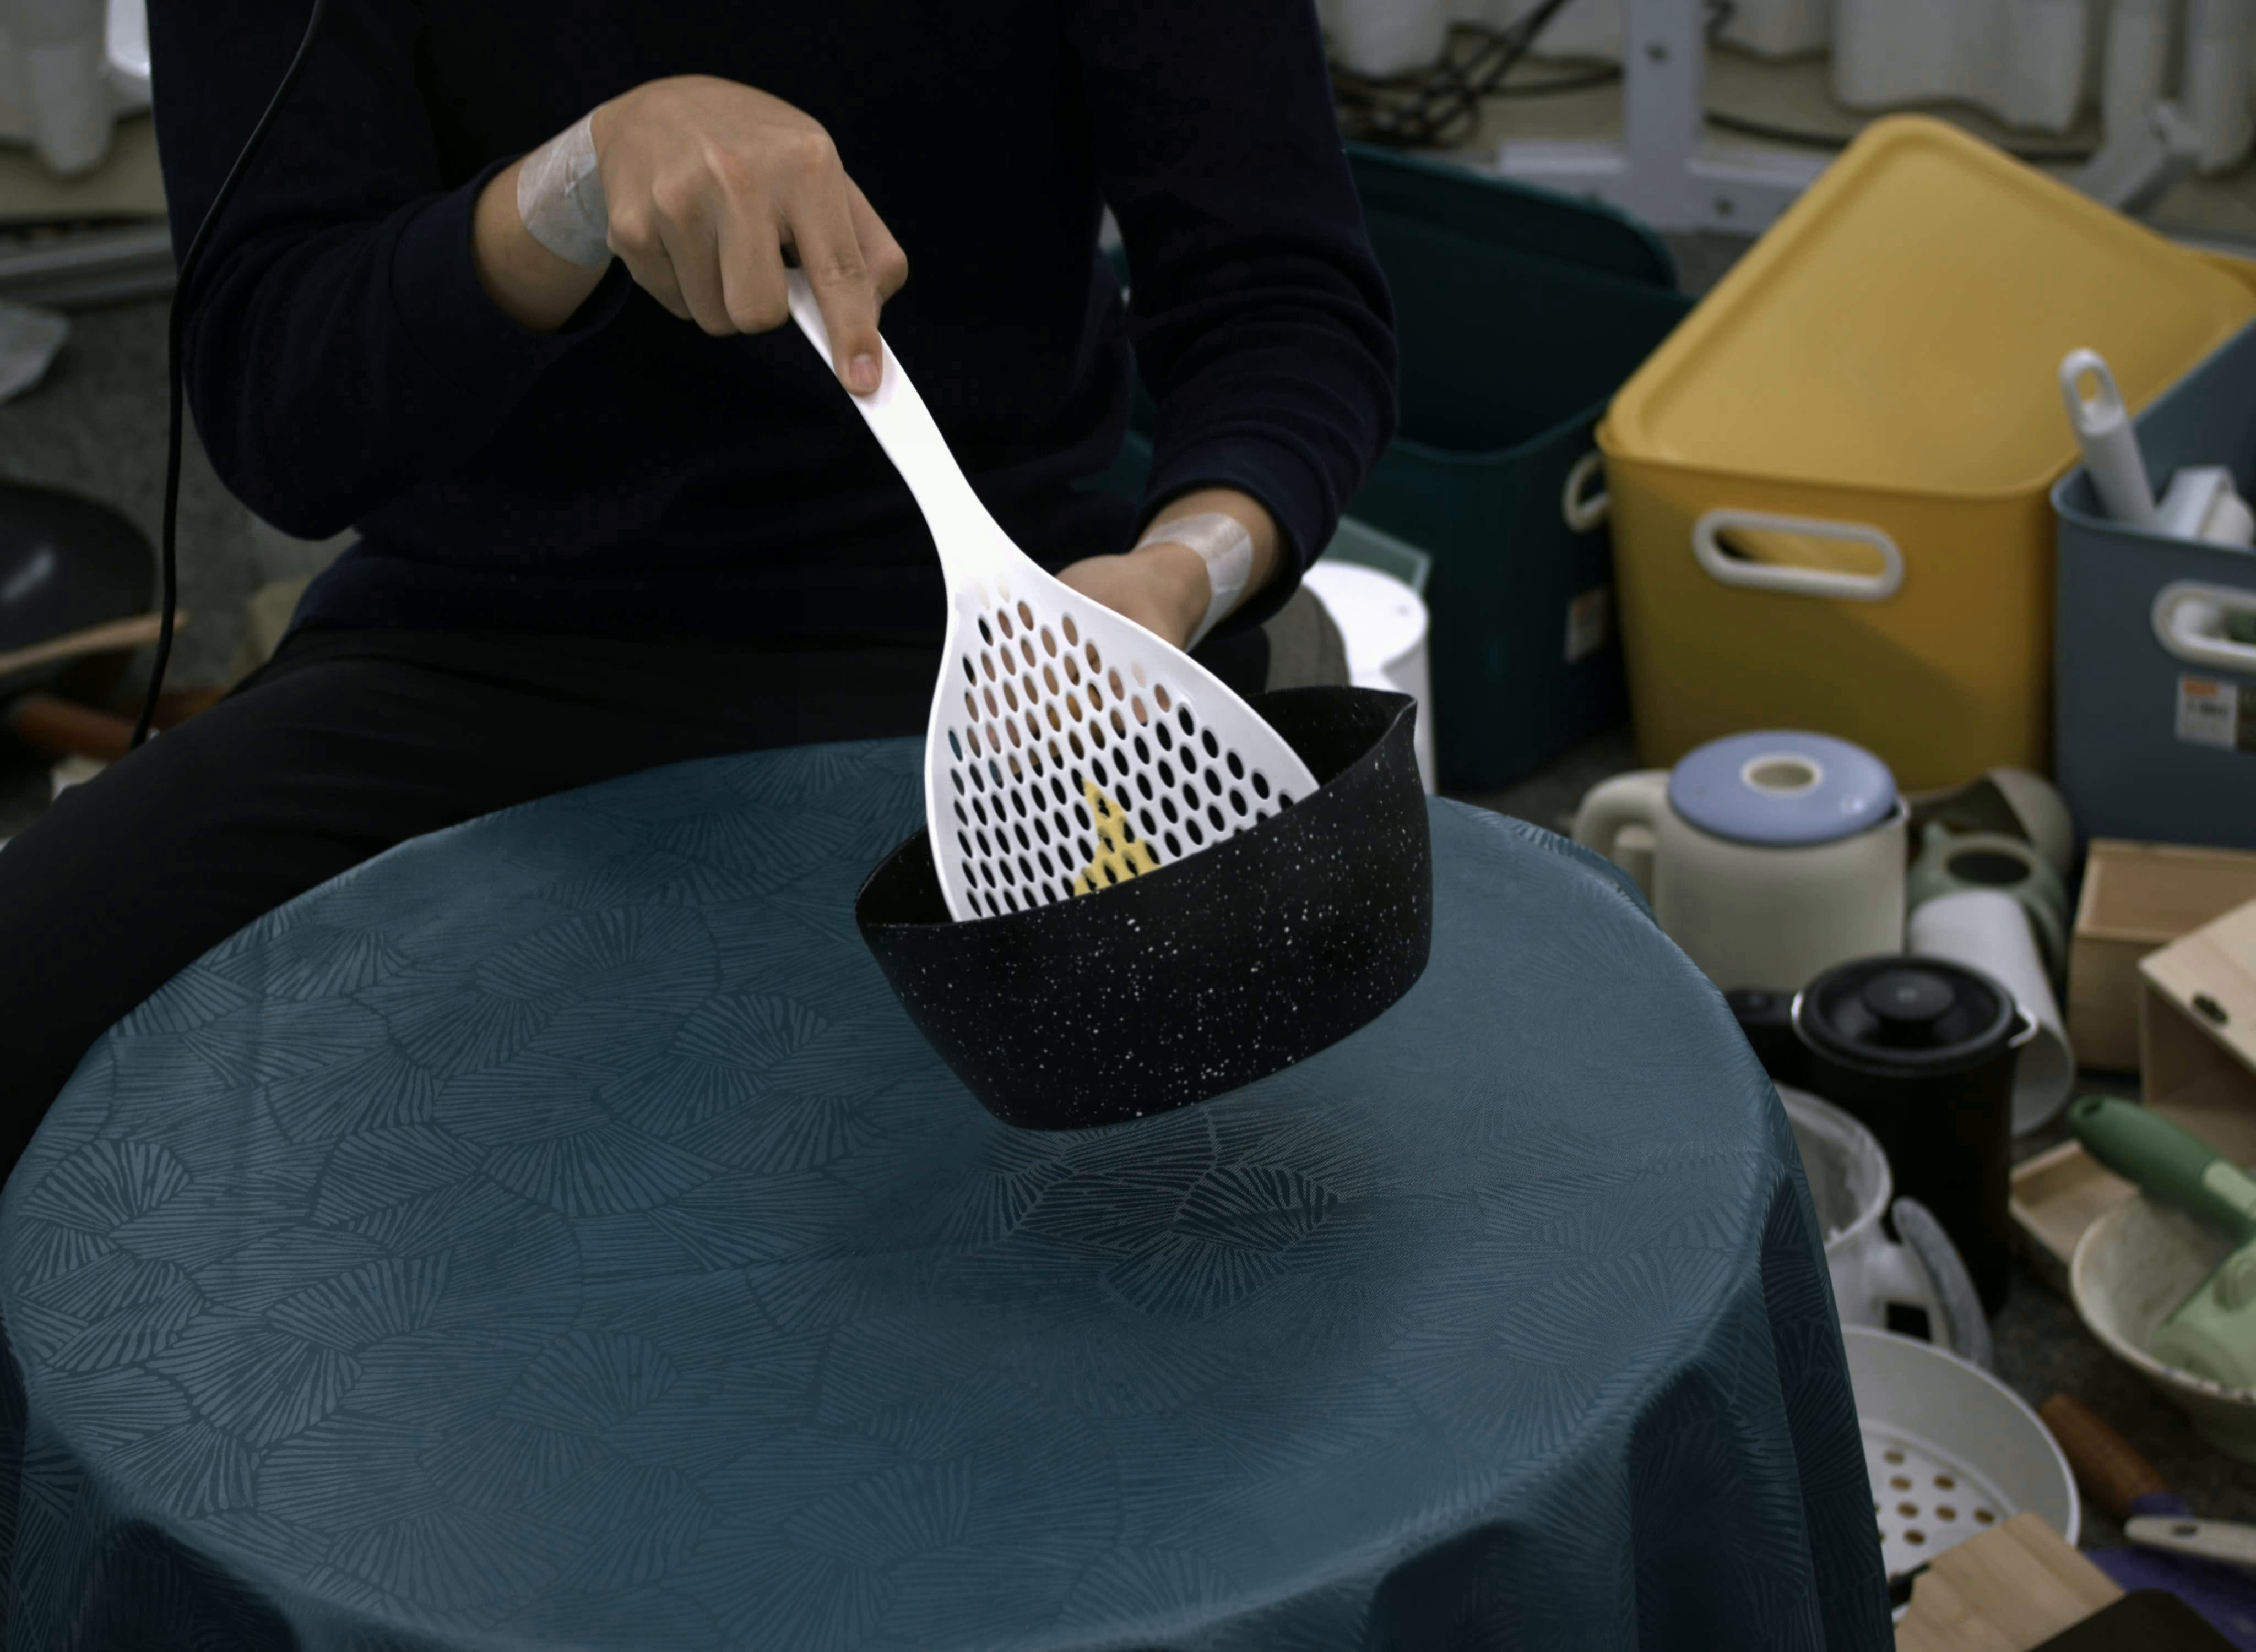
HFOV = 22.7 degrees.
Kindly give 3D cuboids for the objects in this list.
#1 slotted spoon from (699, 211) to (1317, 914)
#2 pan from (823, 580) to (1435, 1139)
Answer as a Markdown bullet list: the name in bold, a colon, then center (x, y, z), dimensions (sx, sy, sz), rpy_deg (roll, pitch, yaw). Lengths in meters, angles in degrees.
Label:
- **slotted spoon**: center (-0.049, -0.075, 1.880), dimensions (0.137, 0.049, 0.351), rpy_deg (-24, 74, -20)
- **pan**: center (-0.003, 0.001, 1.894), dimensions (0.207, 0.108, 0.344), rpy_deg (-23, 16, -4)
